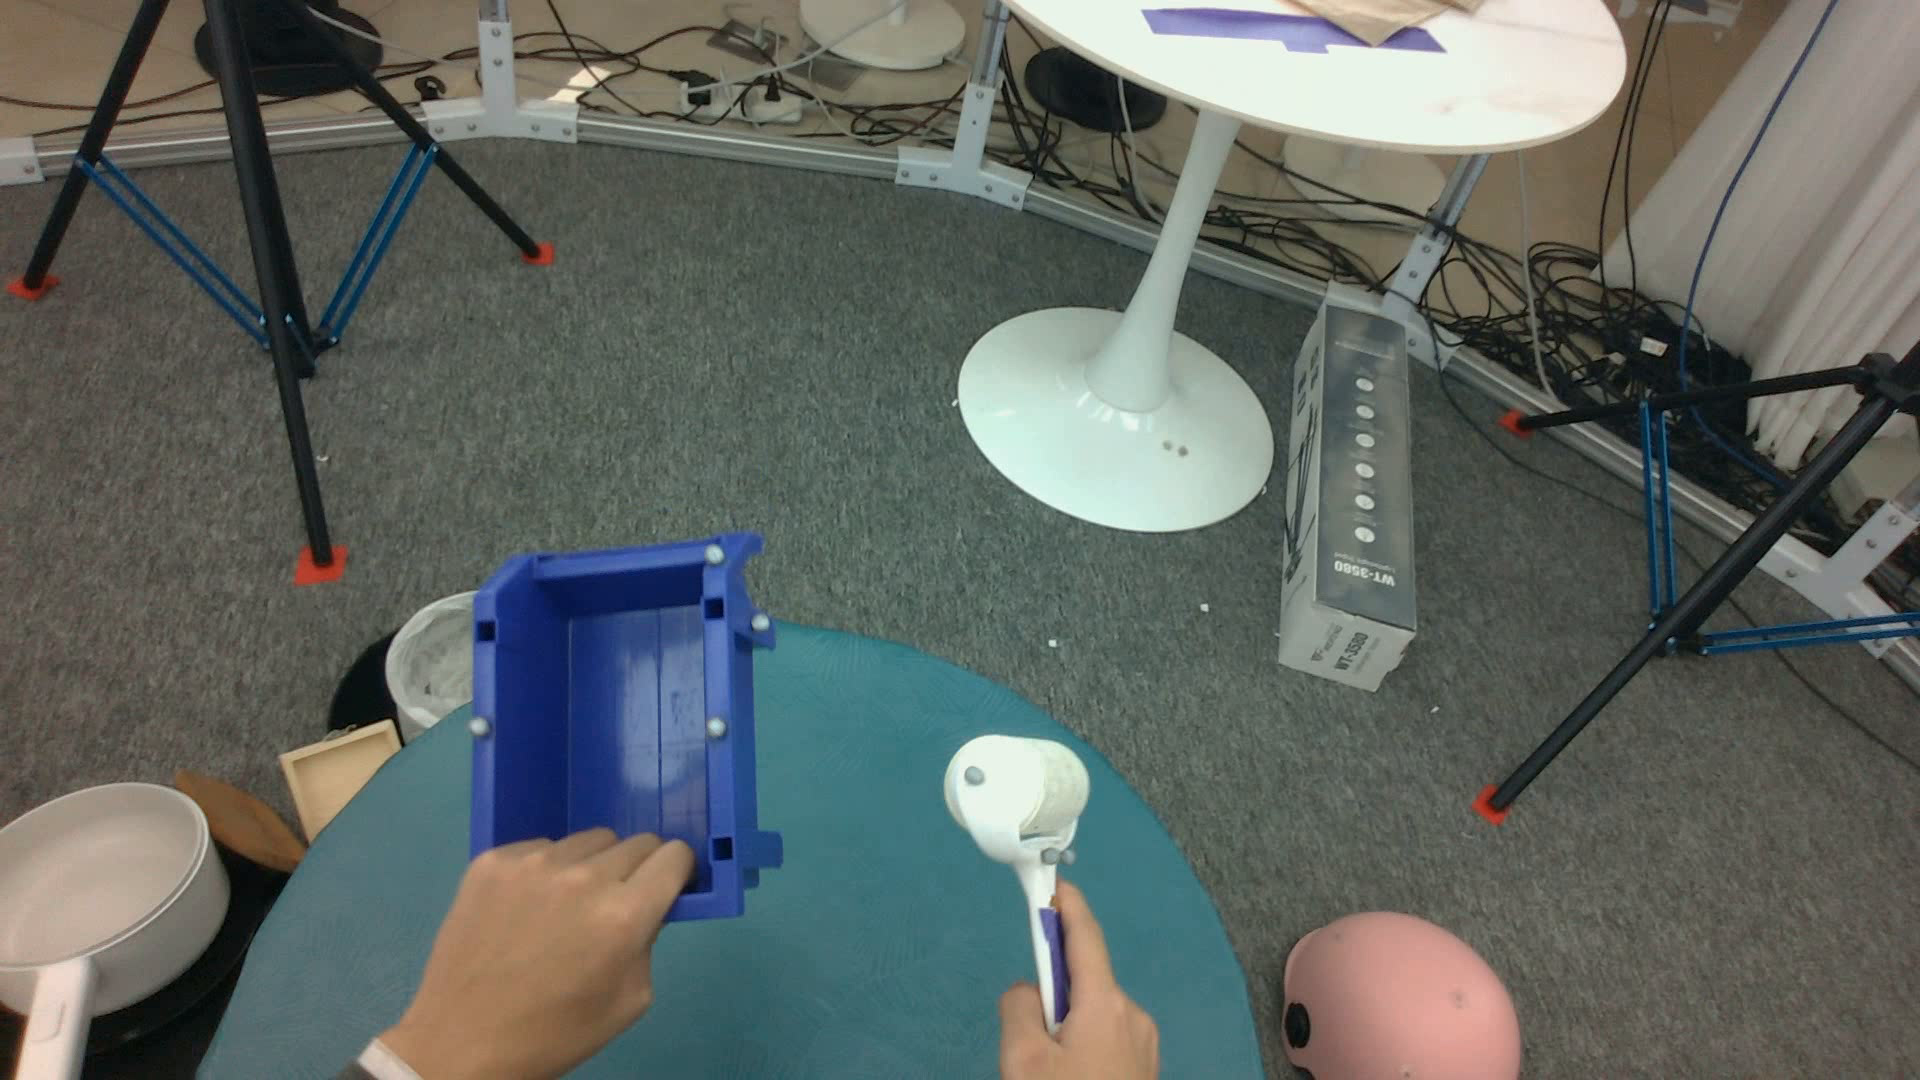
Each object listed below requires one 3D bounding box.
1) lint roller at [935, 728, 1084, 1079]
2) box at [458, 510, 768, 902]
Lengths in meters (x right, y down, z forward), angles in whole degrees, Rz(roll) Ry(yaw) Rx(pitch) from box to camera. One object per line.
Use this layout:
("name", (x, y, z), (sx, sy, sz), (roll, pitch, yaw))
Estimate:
("lint roller", (0.042, 0.175, 0.643), (0.050, 0.133, 0.181), (-21, 74, 11))
("box", (-0.163, 0.074, 0.652), (0.124, 0.082, 0.179), (-5, 79, 6))
